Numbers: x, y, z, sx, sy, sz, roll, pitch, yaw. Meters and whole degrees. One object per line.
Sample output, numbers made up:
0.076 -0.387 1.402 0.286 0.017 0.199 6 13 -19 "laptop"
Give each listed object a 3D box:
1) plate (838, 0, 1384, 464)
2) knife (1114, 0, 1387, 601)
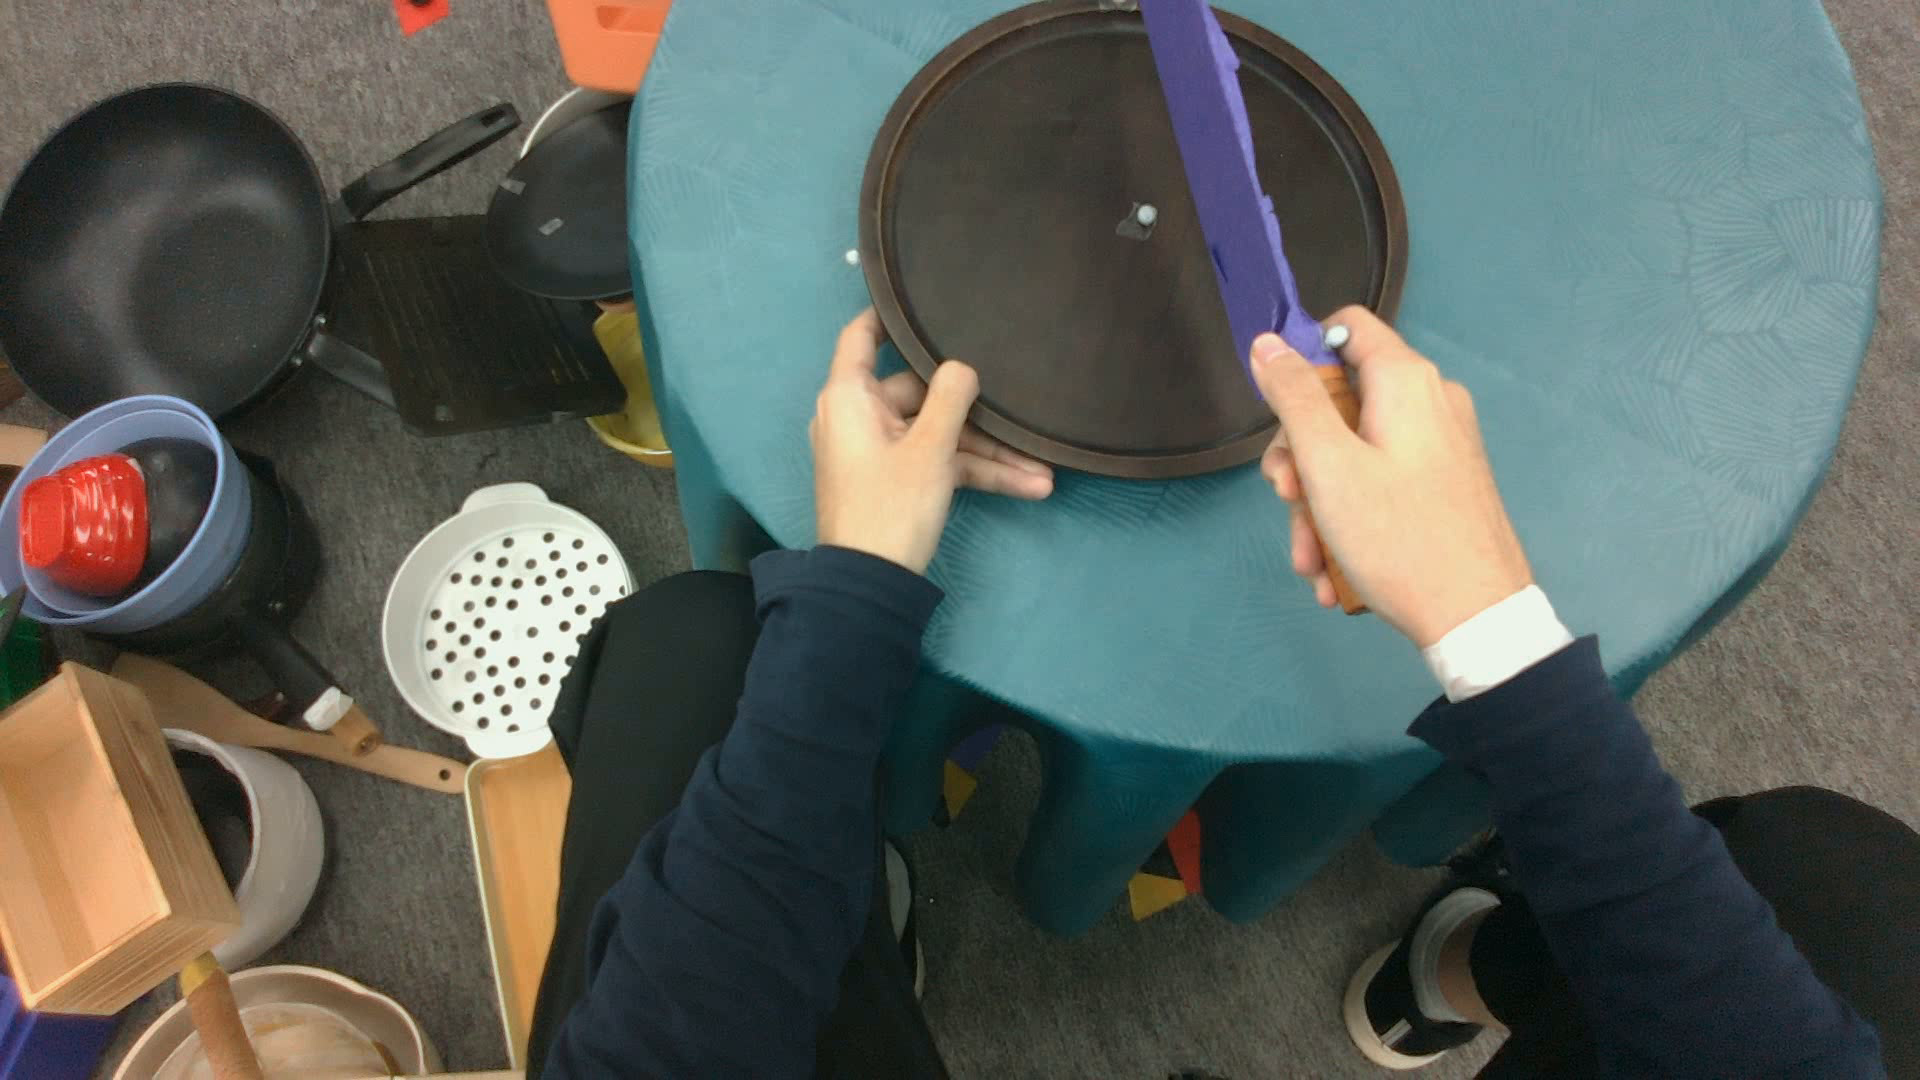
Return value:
0.070 -0.152 0.641 0.255 0.029 0.255 1 70 -3 "plate"
0.108 -0.125 0.560 0.032 0.103 0.316 -13 78 1 "knife"
